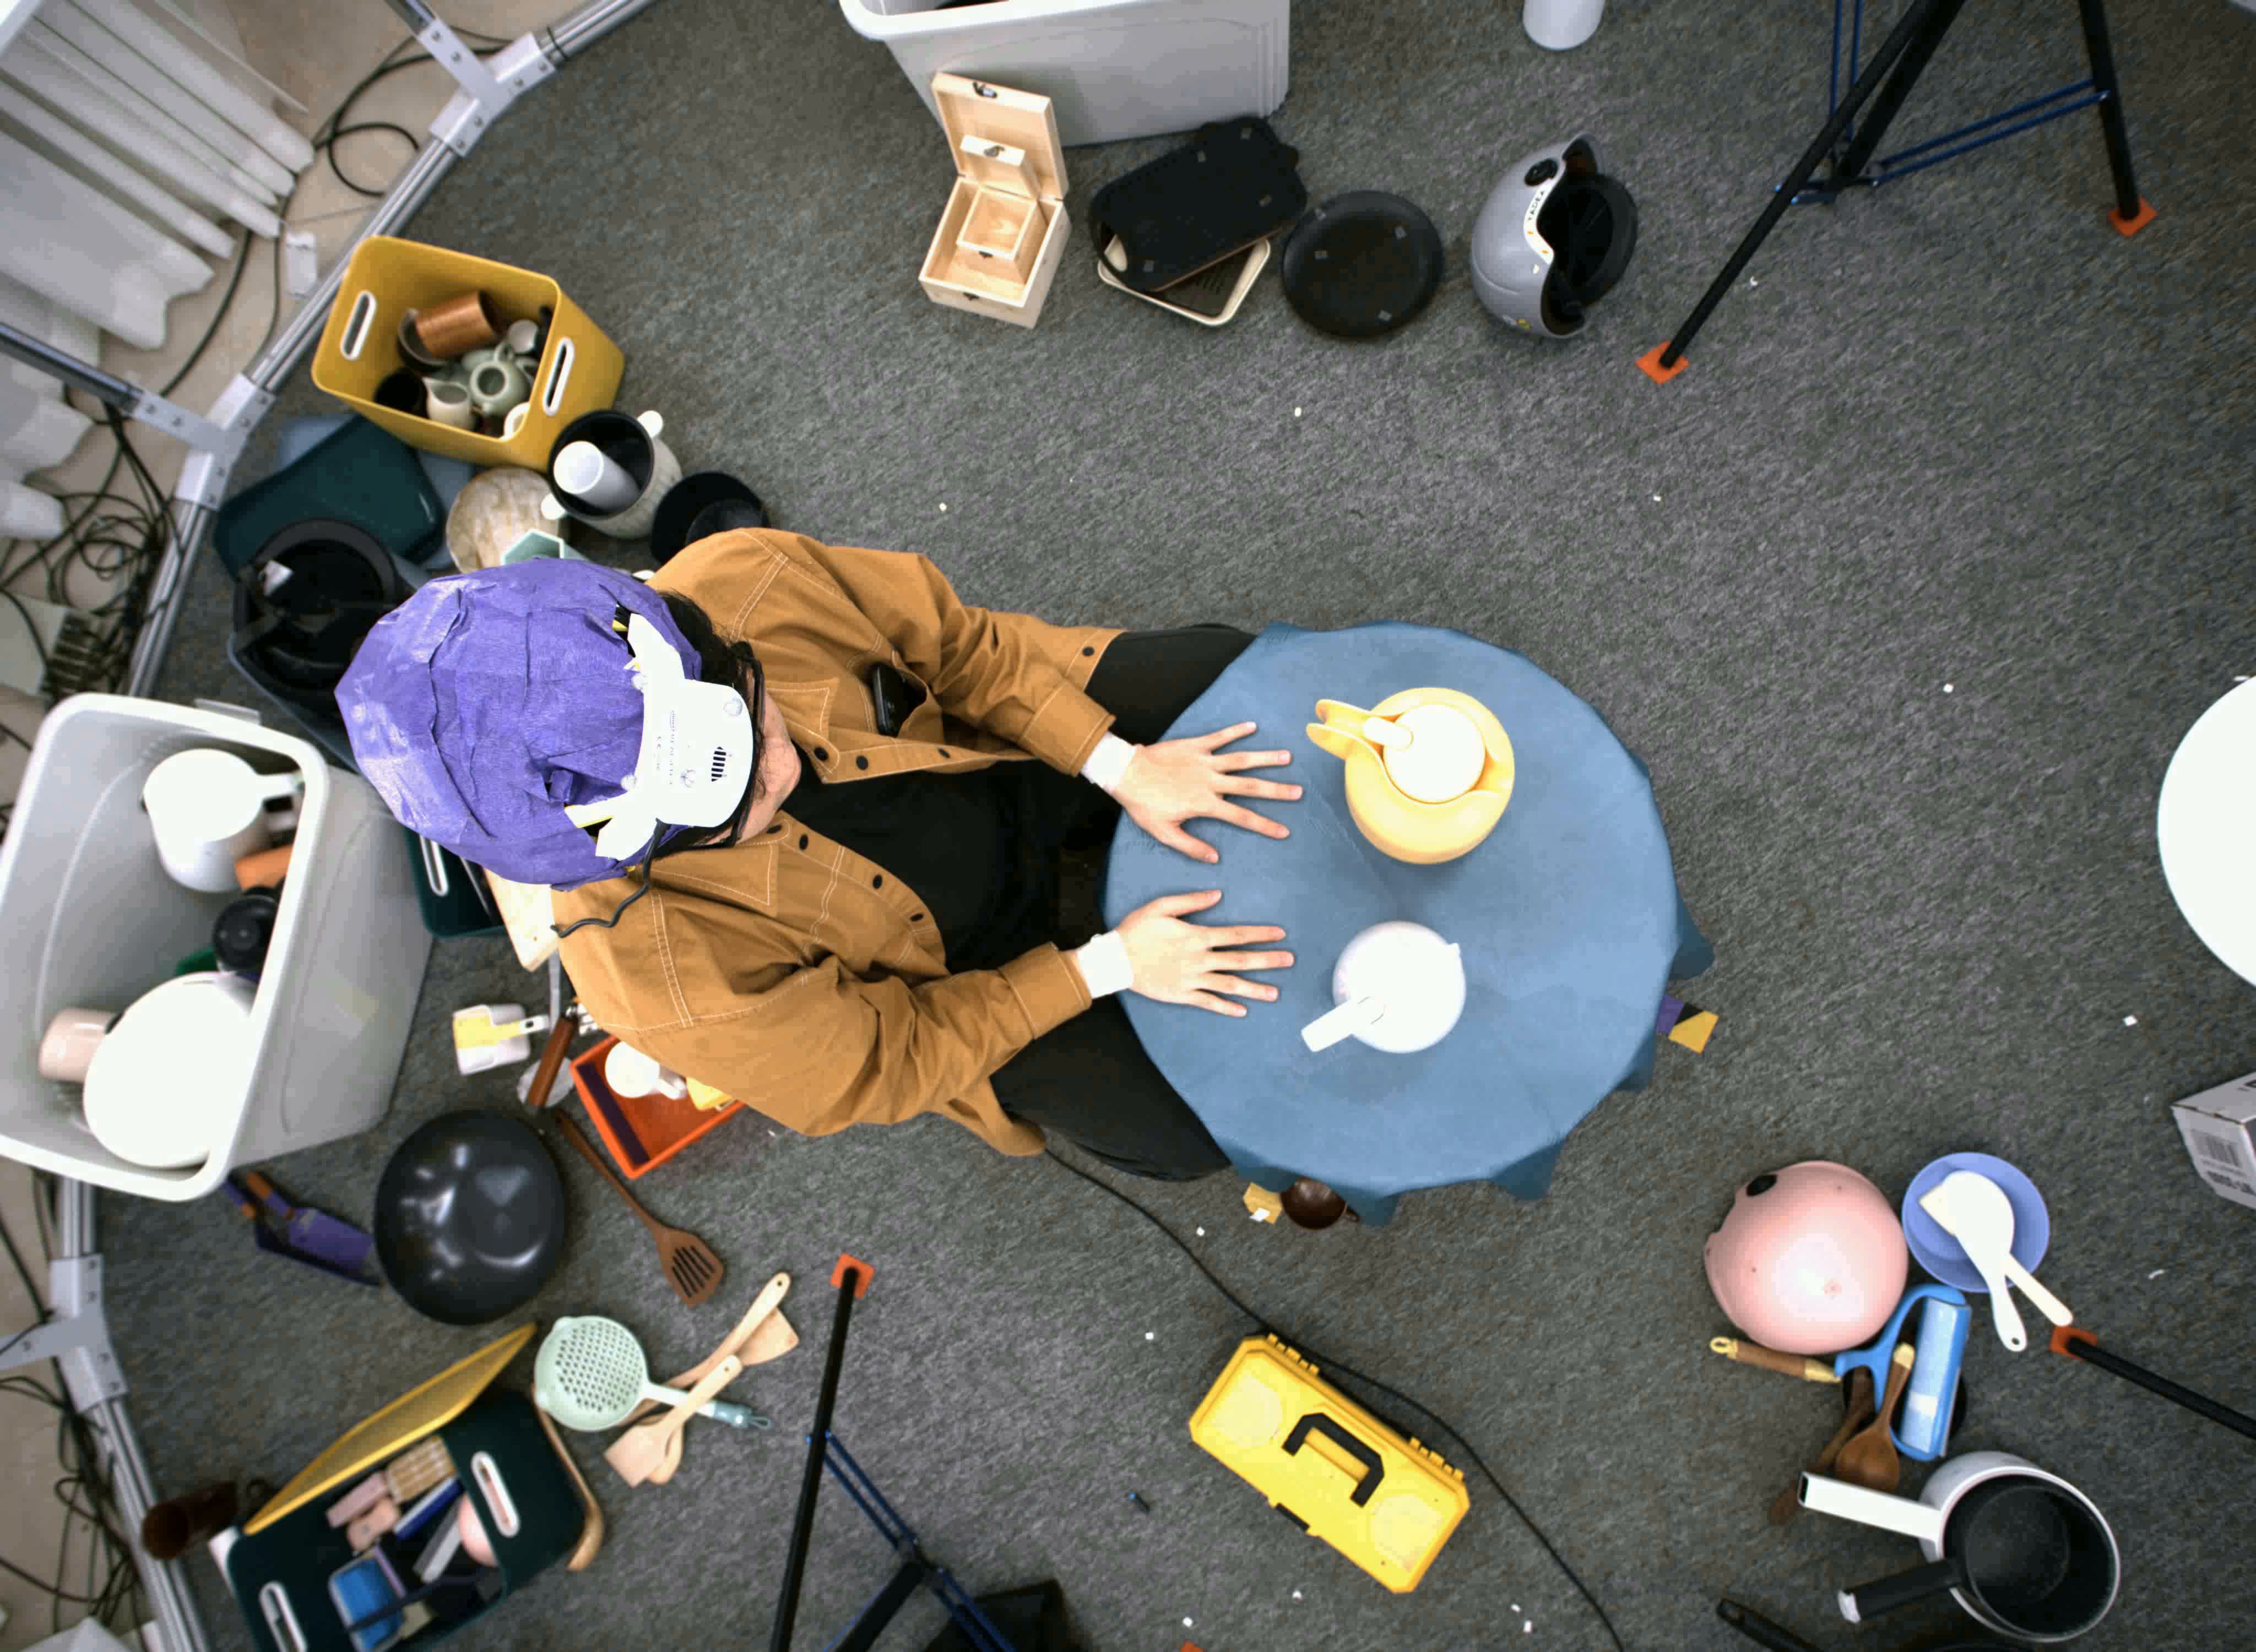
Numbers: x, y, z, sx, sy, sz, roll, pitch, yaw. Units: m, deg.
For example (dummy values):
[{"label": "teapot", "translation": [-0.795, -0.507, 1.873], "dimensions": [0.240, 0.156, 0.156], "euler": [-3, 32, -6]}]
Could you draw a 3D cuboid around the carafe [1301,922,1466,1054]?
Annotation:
[{"label": "carafe", "translation": [0.246, 0.166, 1.335], "dimensions": [0.169, 0.249, 0.131], "euler": [-32, 80, 7]}]

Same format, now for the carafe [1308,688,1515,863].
[{"label": "carafe", "translation": [0.274, -0.062, 1.335], "dimensions": [0.202, 0.261, 0.163], "euler": [25, 88, 10]}]
